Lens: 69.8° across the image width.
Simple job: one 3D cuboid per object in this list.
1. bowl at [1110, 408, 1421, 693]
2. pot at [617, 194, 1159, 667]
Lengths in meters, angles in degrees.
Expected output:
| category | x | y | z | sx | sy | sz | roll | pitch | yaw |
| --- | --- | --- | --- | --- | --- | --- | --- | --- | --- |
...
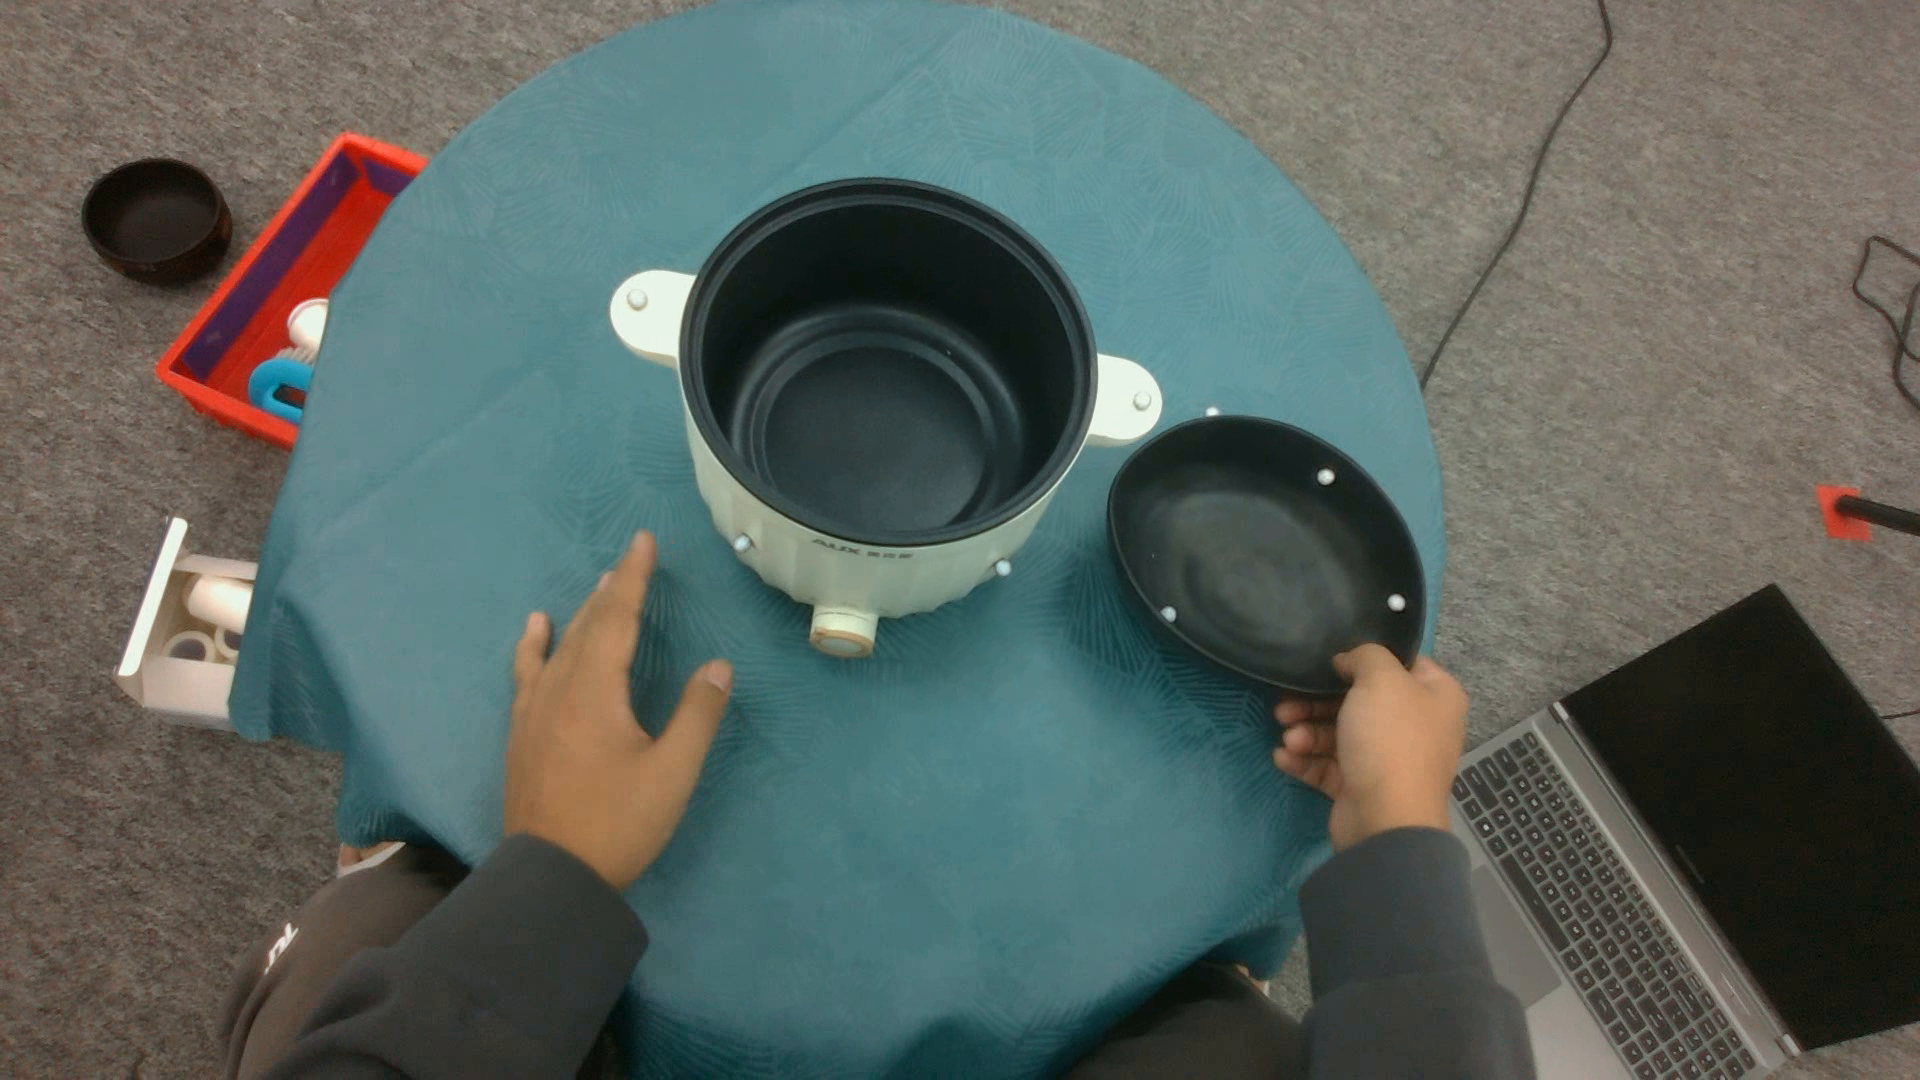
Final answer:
| category | x | y | z | sx | sy | sz | roll | pitch | yaw |
| --- | --- | --- | --- | --- | --- | --- | --- | --- | --- |
| bowl | 0.151 | 0.012 | 0.702 | 0.170 | 0.066 | 0.138 | 30 | 67 | 4 |
| pot | -0.036 | -0.047 | 0.662 | 0.240 | 0.142 | 0.191 | 6 | 63 | -4 |
